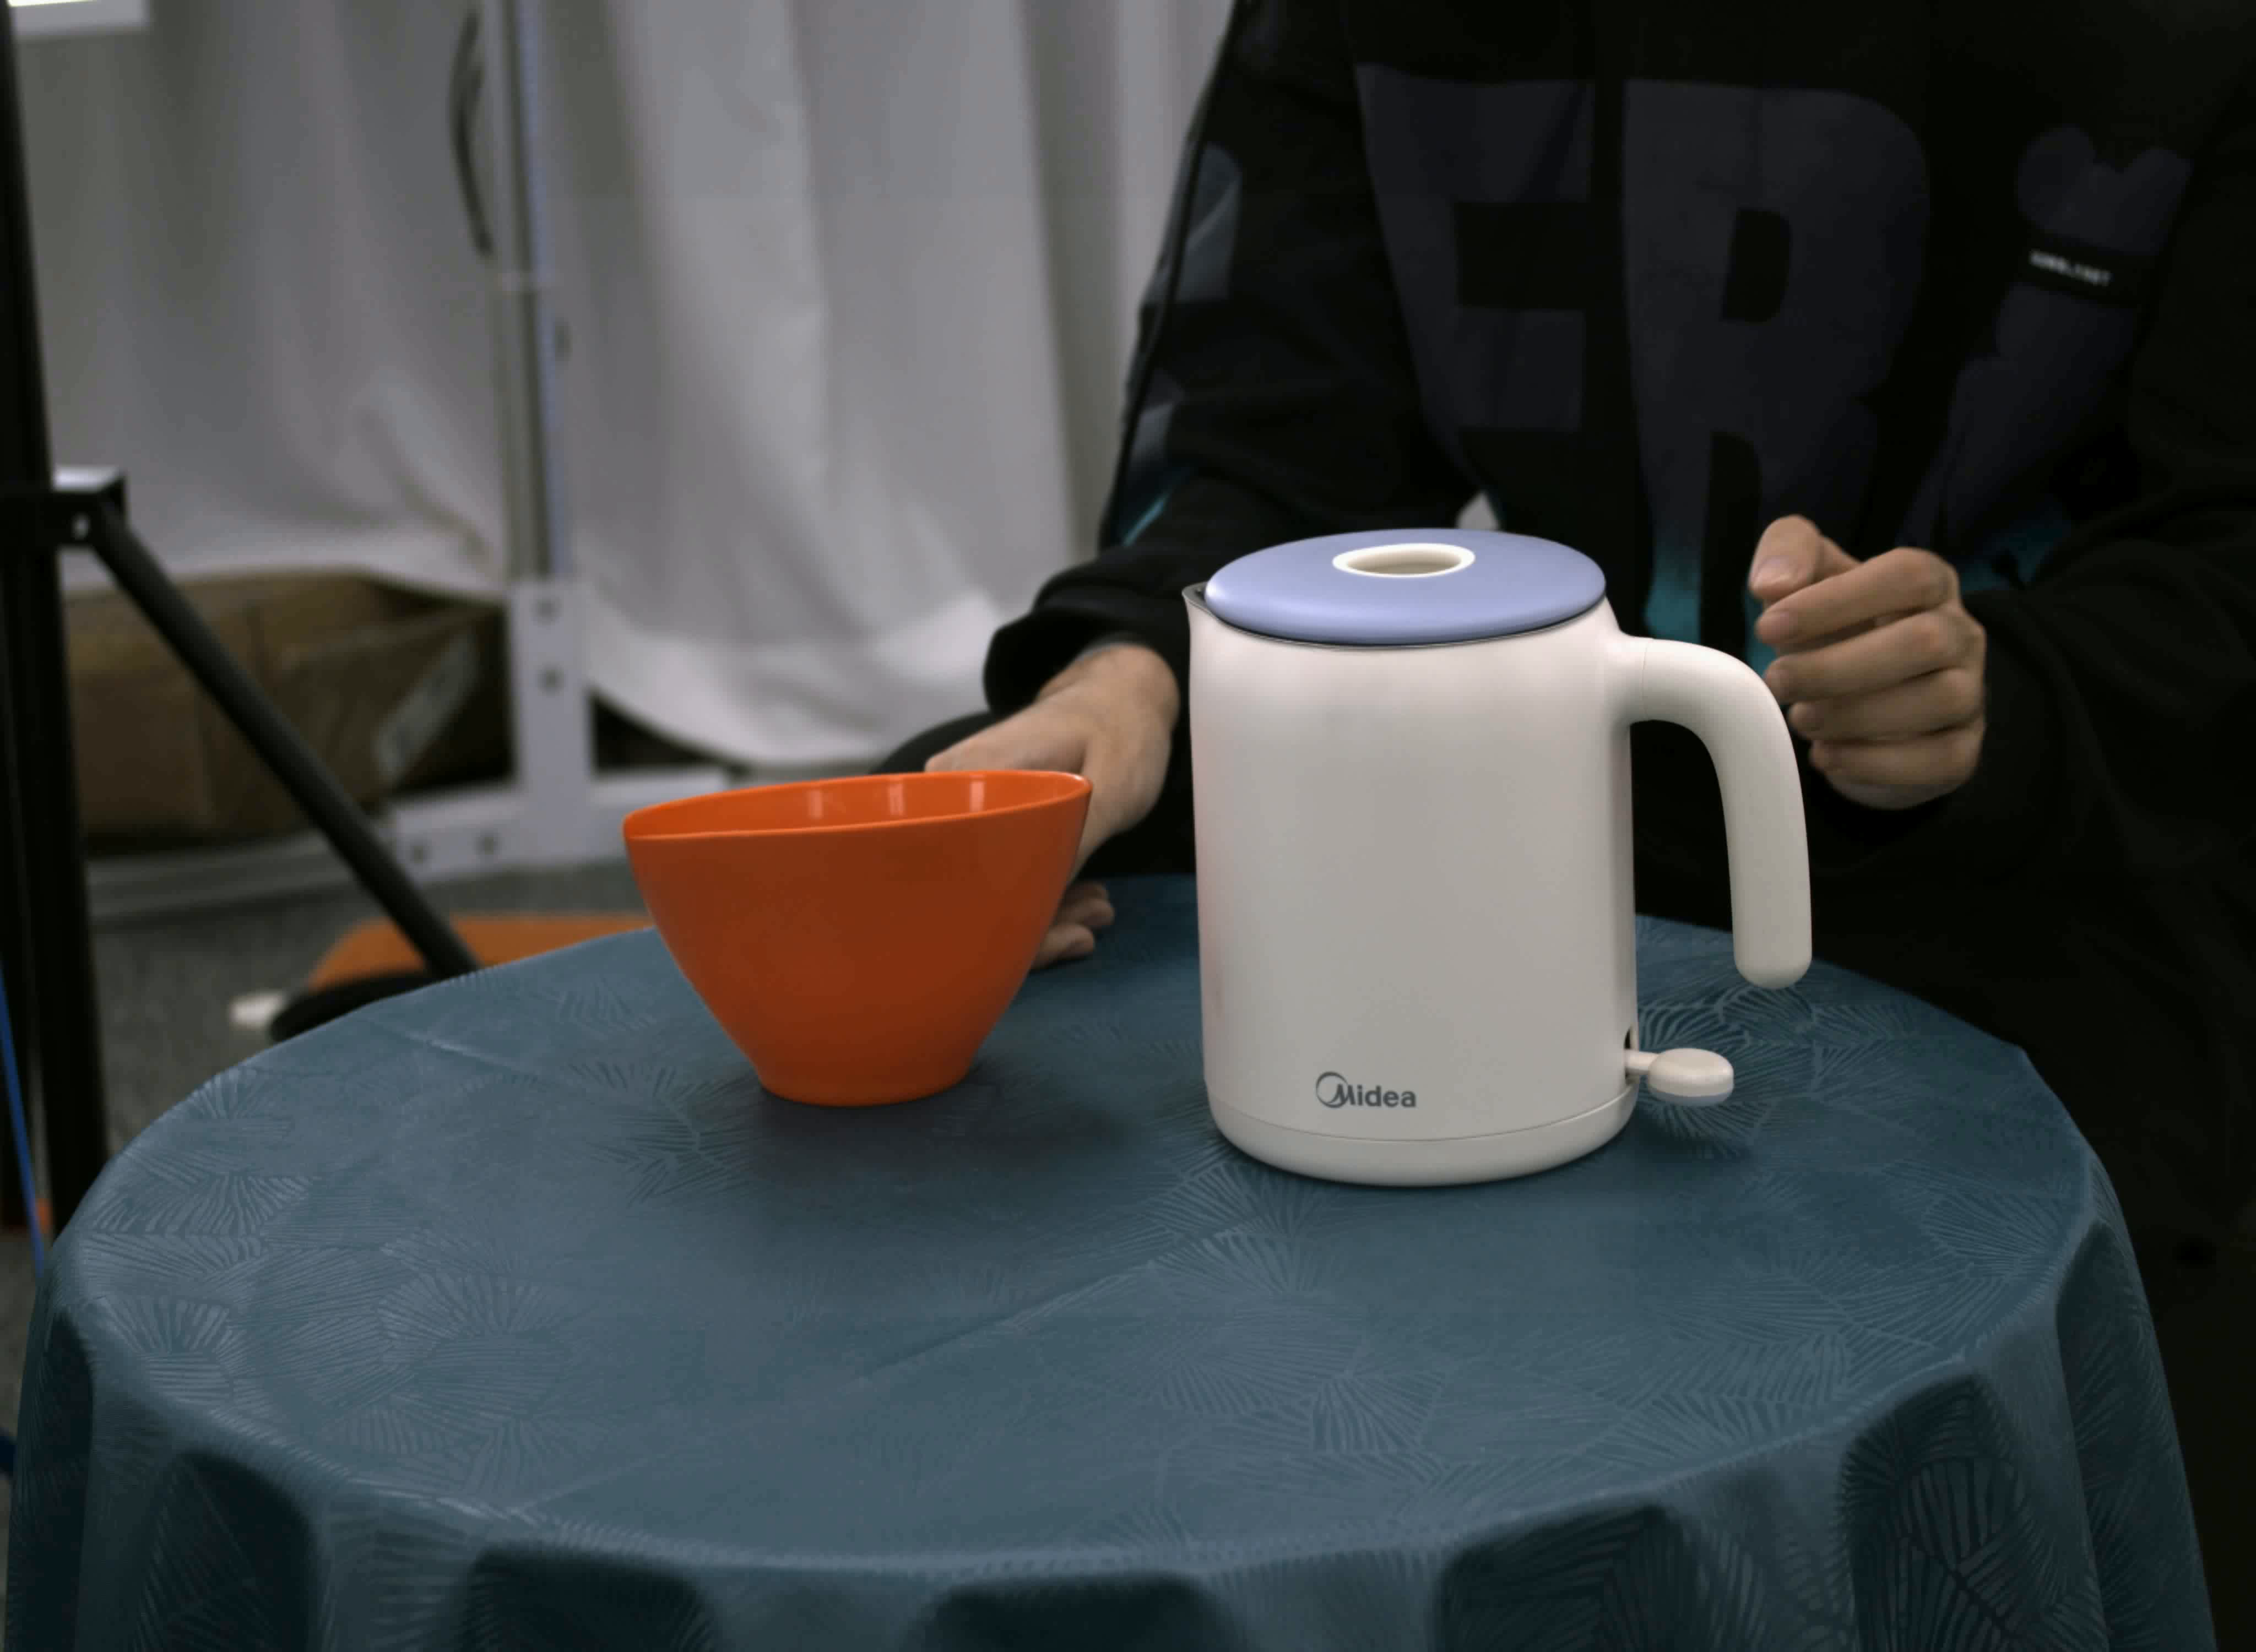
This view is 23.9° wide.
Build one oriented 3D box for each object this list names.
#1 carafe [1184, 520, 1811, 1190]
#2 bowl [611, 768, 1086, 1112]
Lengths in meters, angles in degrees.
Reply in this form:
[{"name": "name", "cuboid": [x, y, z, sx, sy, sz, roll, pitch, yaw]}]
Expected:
[{"name": "carafe", "cuboid": [0.109, 0.010, 1.575, 0.193, 0.182, 0.131, 5, 18, 17]}, {"name": "bowl", "cuboid": [-0.085, 0.033, 1.654, 0.147, 0.104, 0.149, -3, 16, -1]}]
